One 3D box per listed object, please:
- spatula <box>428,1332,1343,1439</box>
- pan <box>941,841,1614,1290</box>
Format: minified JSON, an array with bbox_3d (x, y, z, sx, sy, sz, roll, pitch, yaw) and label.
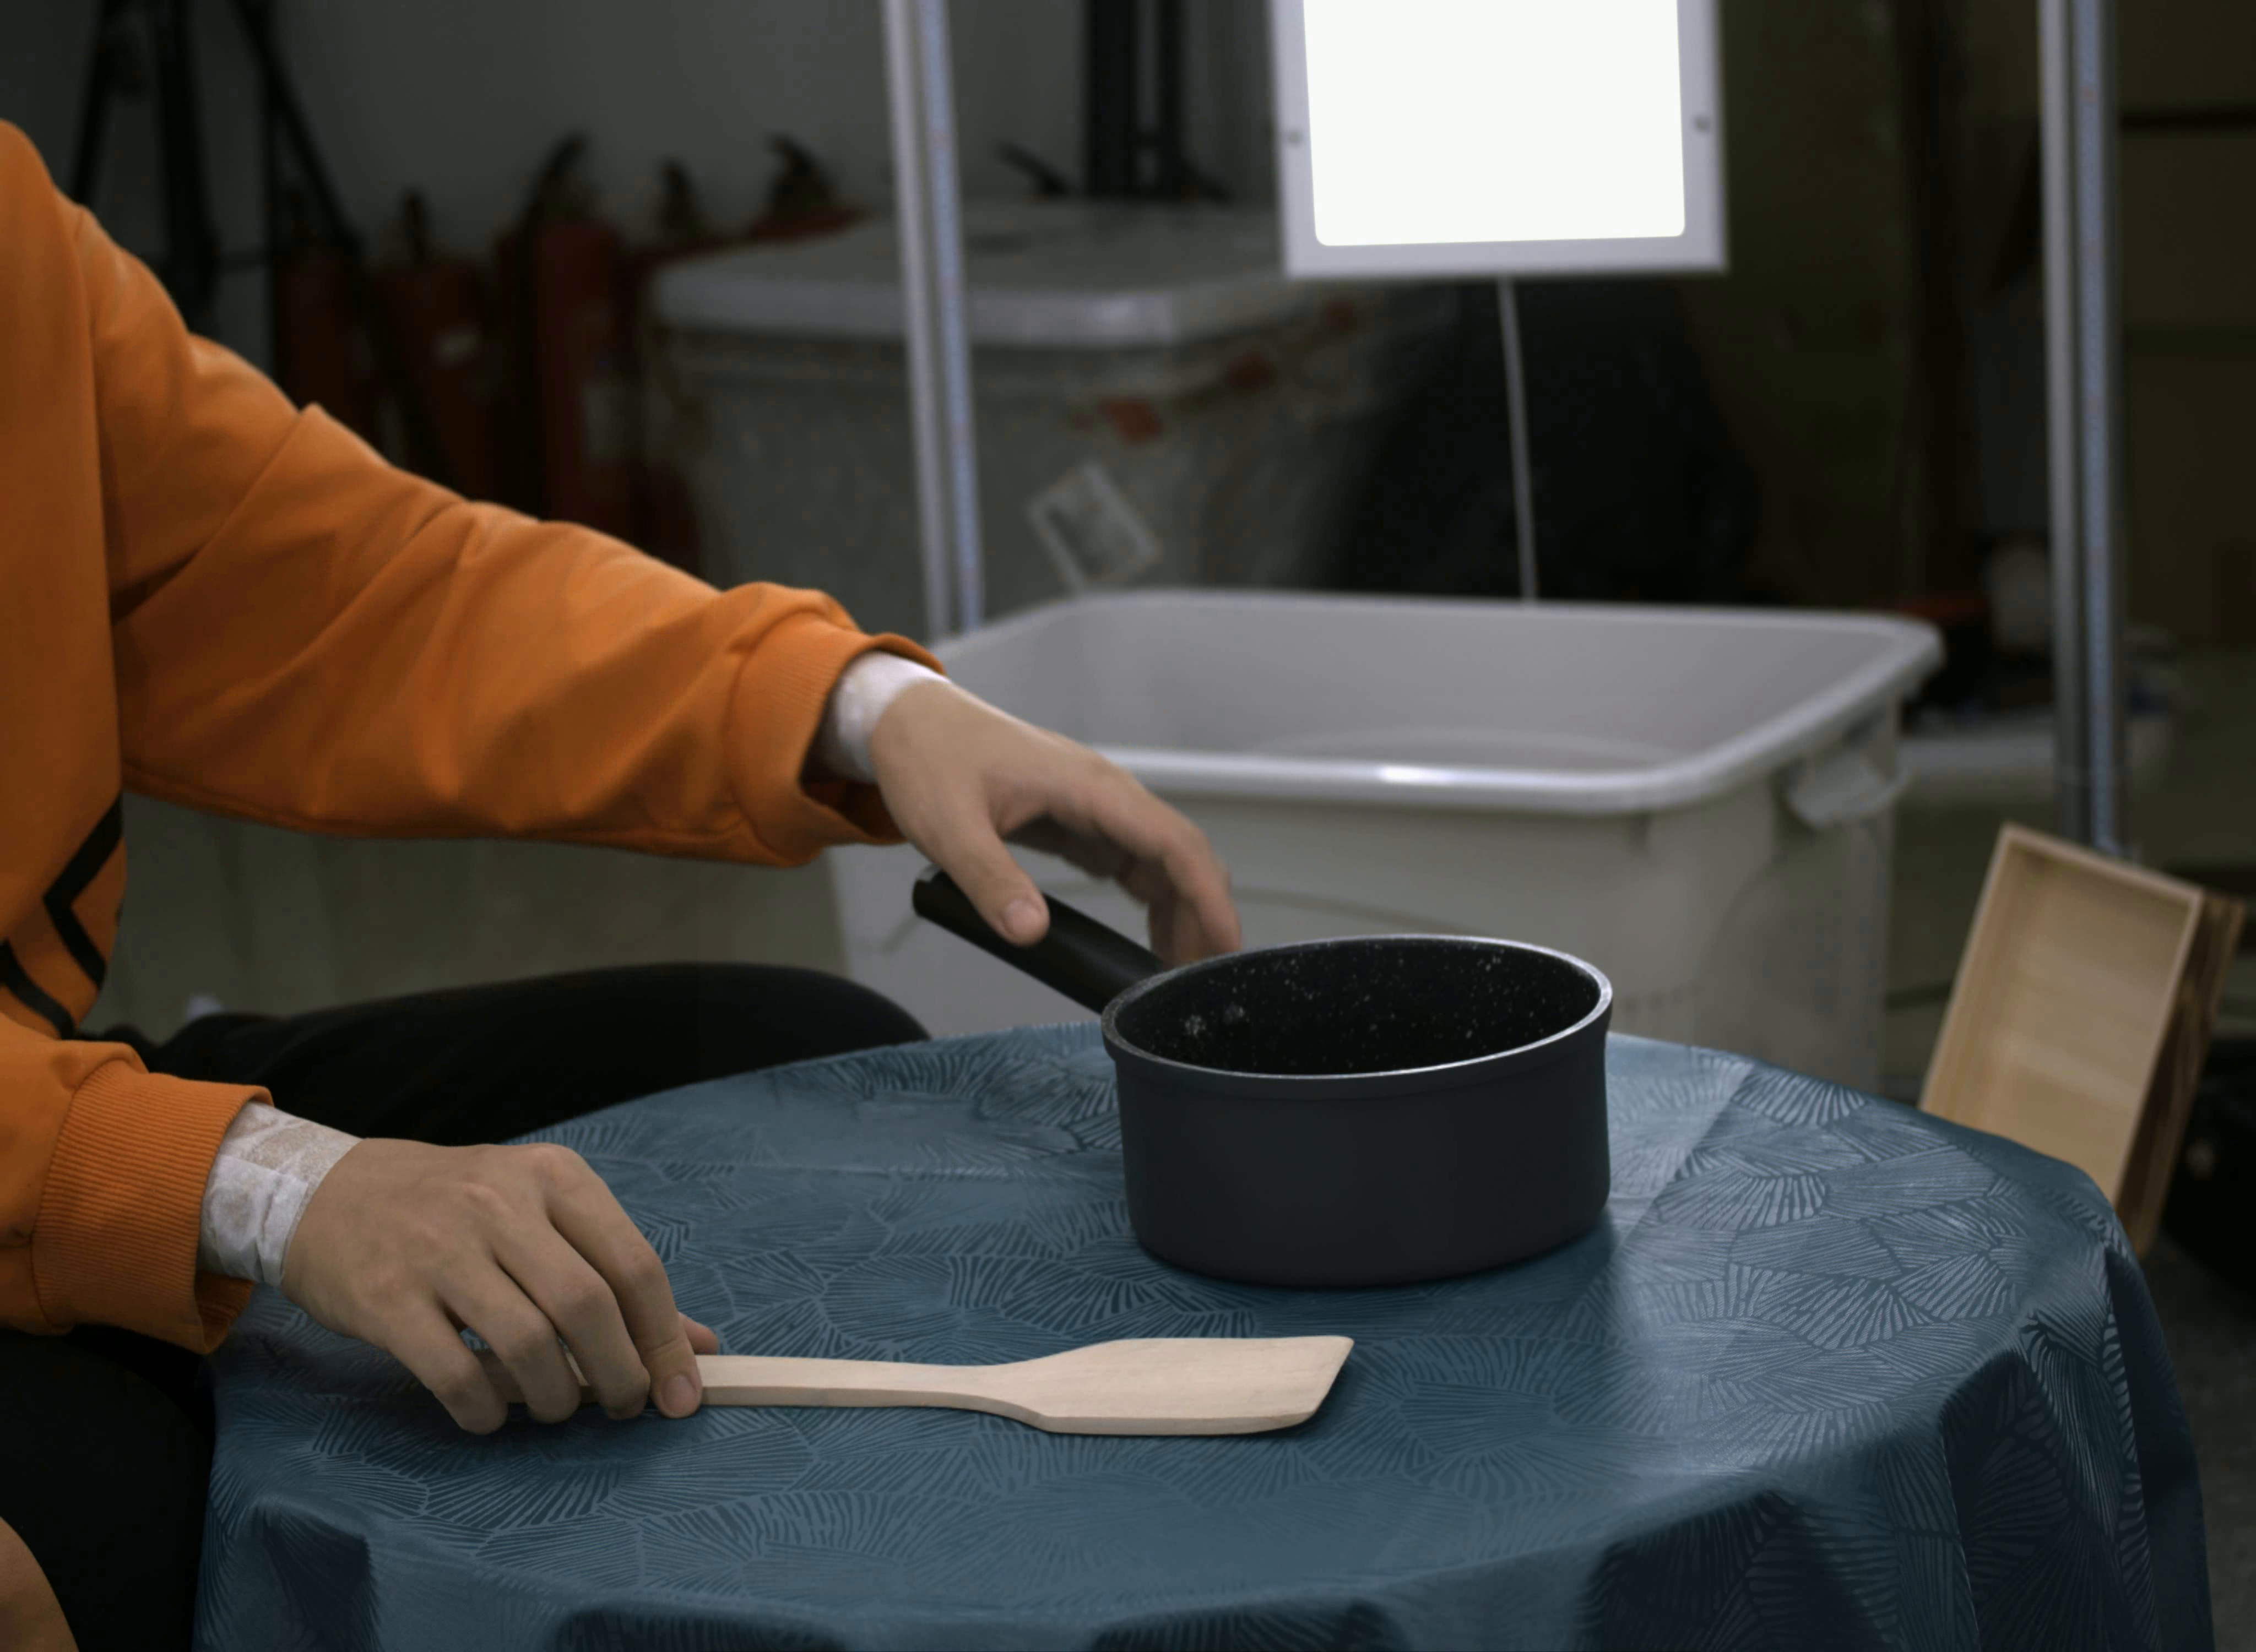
[{"bbox_3d":[-0.080,0.173,1.718,0.296,0.011,0.071,-1,17,17],"label":"spatula"},{"bbox_3d":[0.034,0.078,1.905,0.168,0.087,0.335,-13,17,-31],"label":"pan"}]
